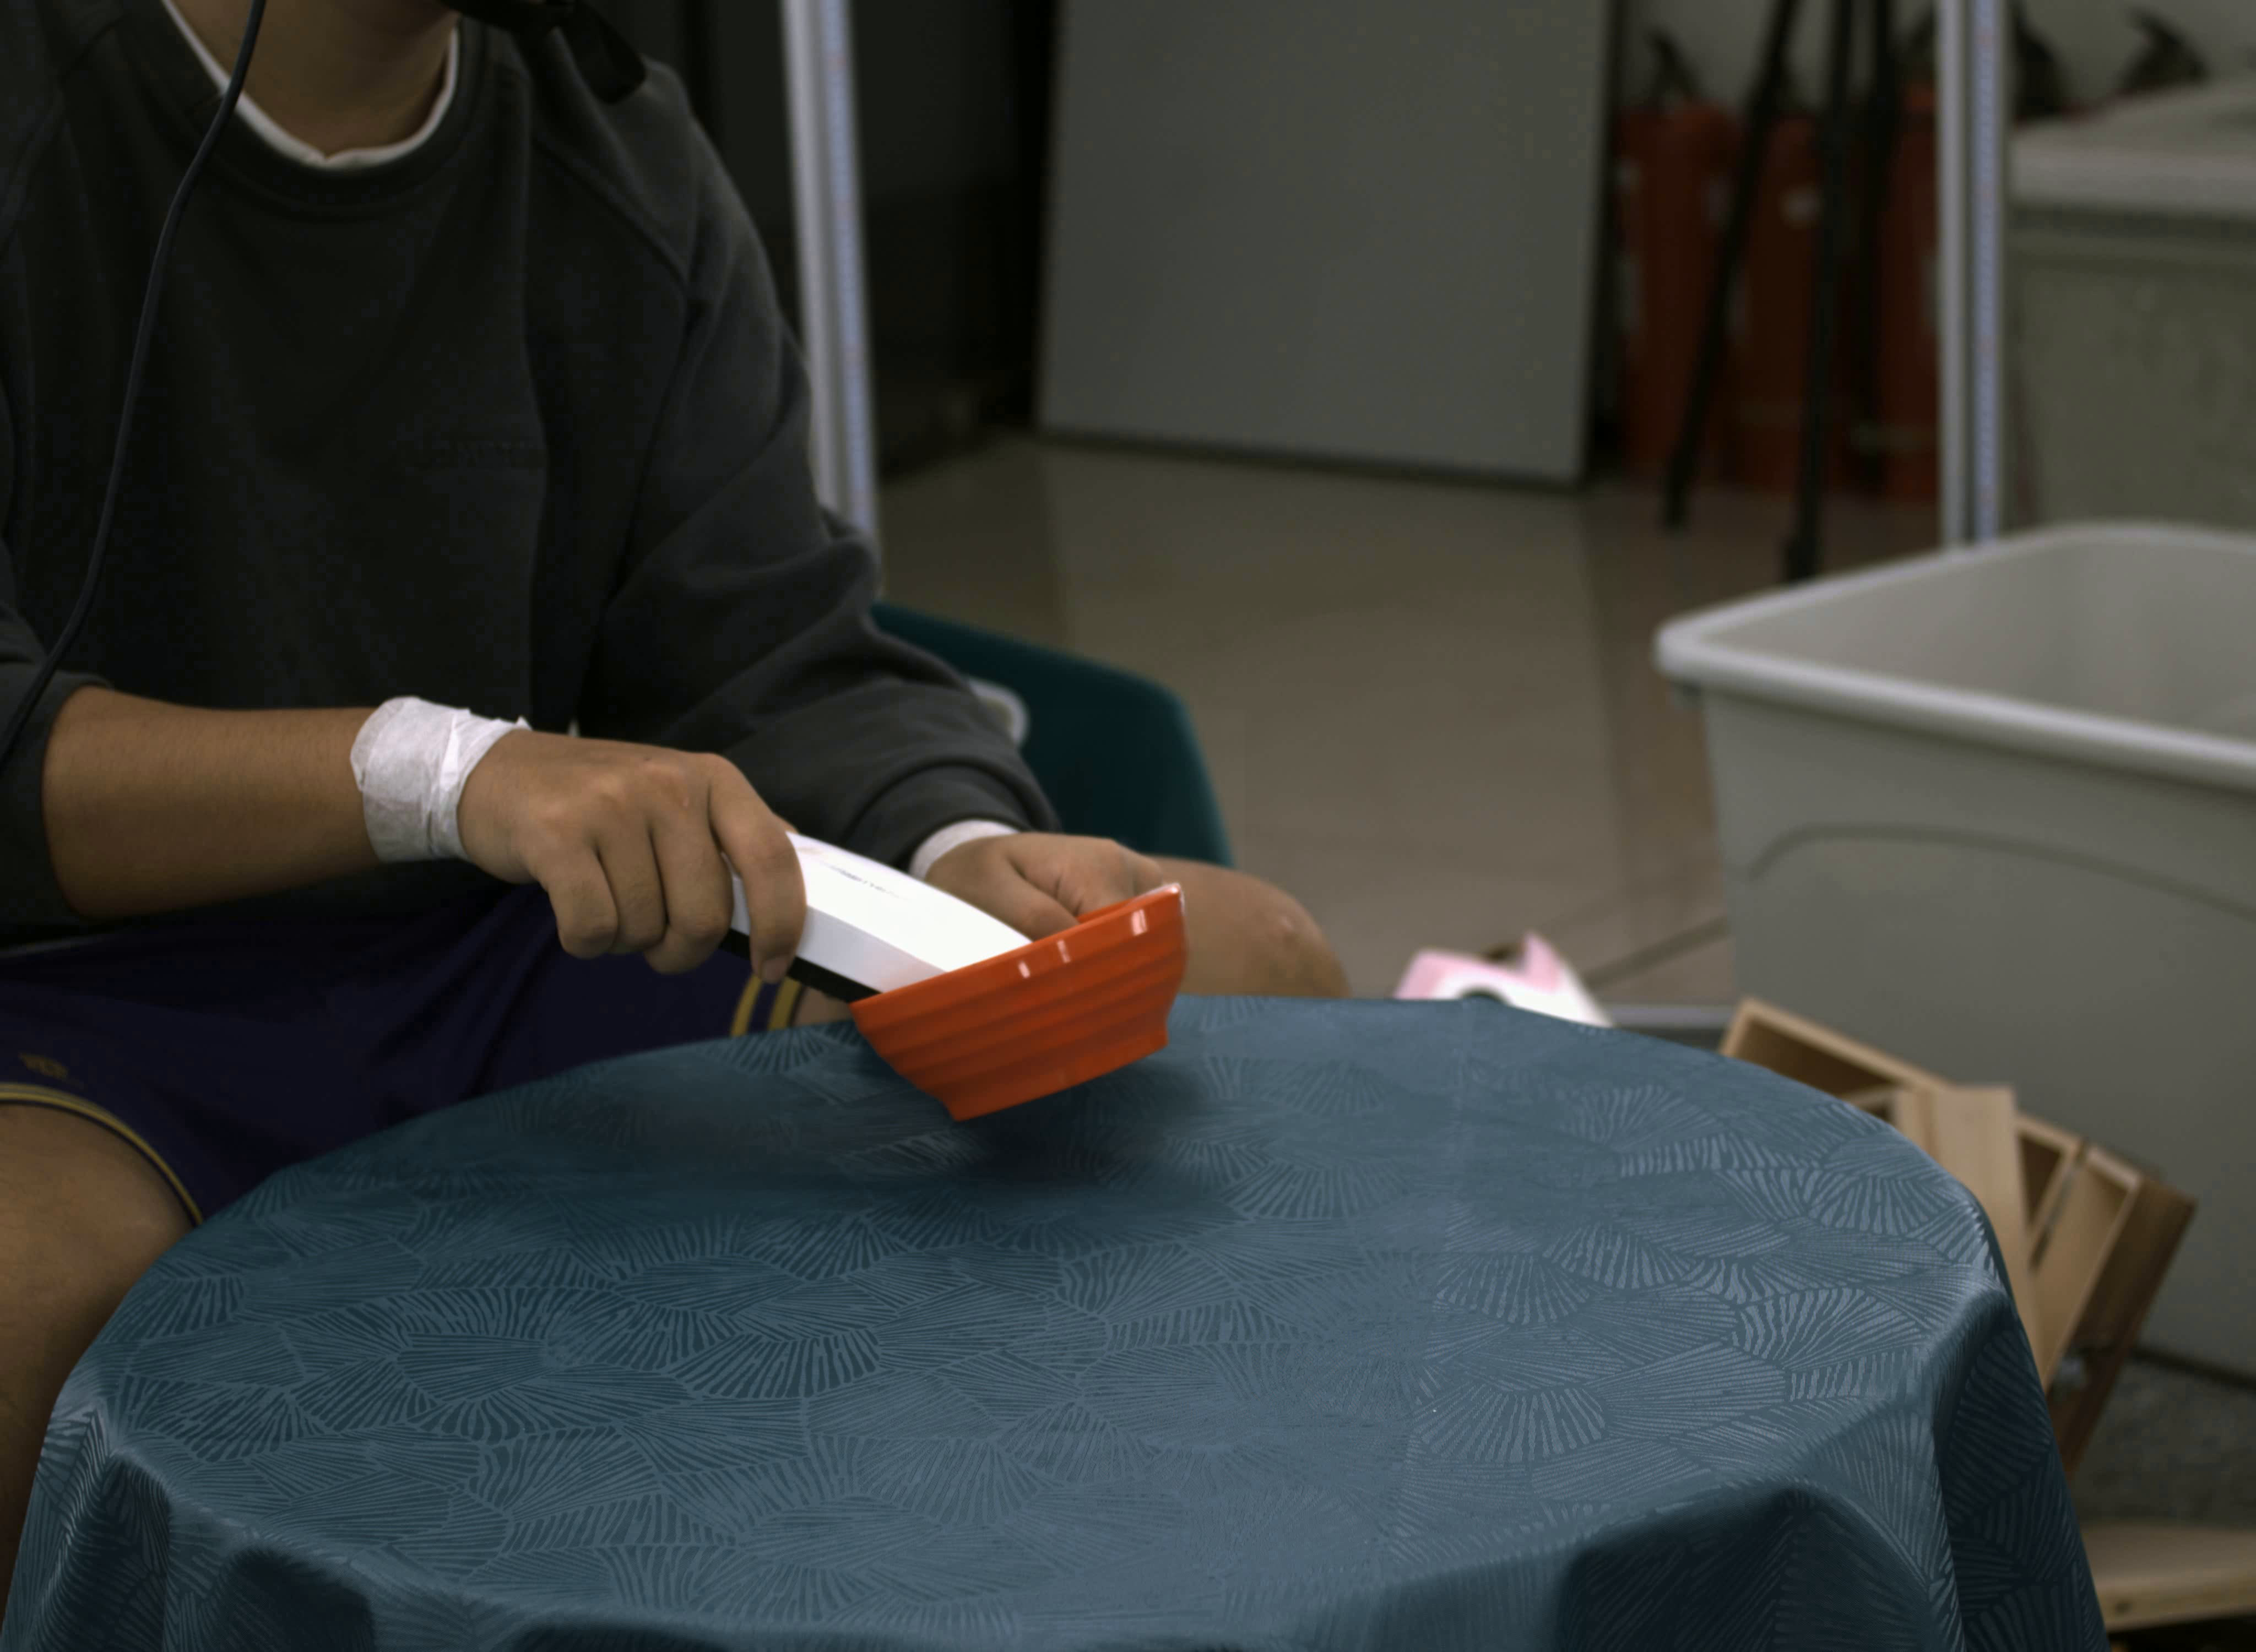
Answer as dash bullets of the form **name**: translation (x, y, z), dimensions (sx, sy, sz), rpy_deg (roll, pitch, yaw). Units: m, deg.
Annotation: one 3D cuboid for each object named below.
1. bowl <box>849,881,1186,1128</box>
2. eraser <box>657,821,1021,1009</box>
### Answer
- **bowl**: translation (-0.030, 0.063, 1.790), dimensions (0.118, 0.052, 0.119), rpy_deg (-21, 0, -1)
- **eraser**: translation (-0.093, 0.034, 1.813), dimensions (0.131, 0.035, 0.062), rpy_deg (25, 19, 17)
